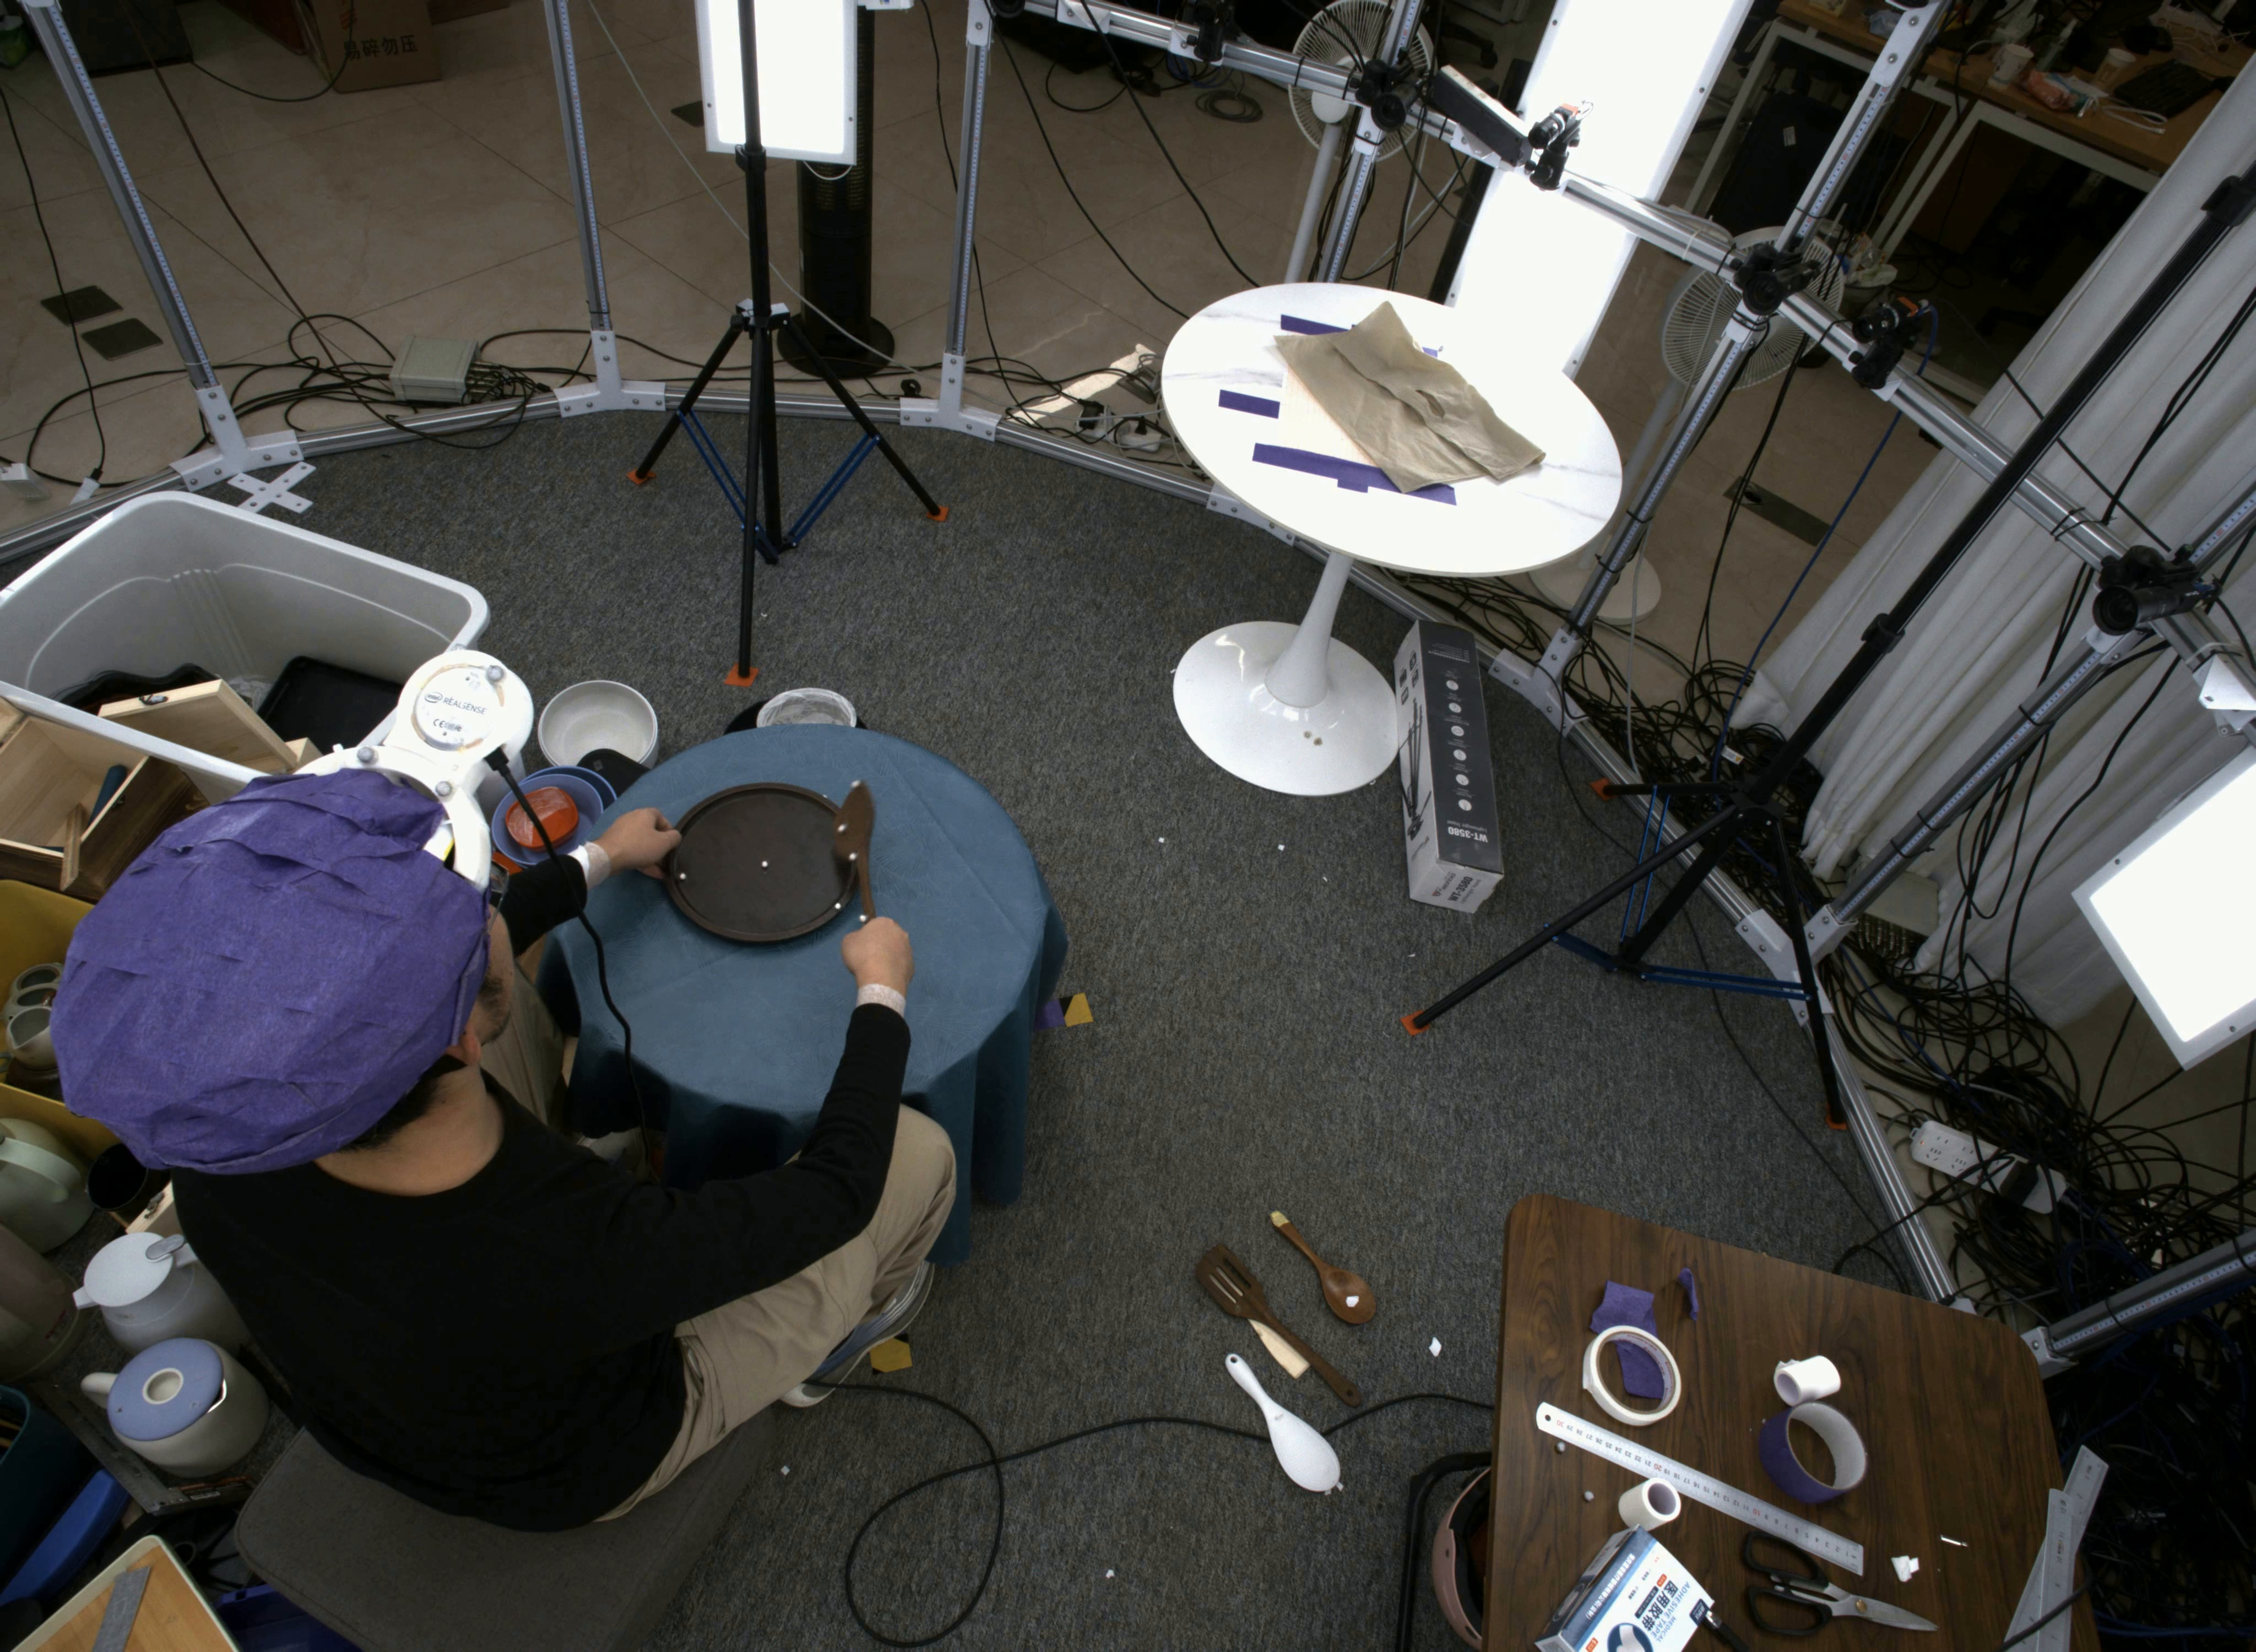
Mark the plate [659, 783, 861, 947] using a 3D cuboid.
[{"bbox_3d":[-0.470,0.047,1.656,0.254,0.029,0.250,9,53,-10],"label":"plate"}]

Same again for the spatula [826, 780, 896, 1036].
[{"bbox_3d":[-0.315,0.094,1.540,0.016,0.097,0.374,12,38,-33],"label":"spatula"}]
